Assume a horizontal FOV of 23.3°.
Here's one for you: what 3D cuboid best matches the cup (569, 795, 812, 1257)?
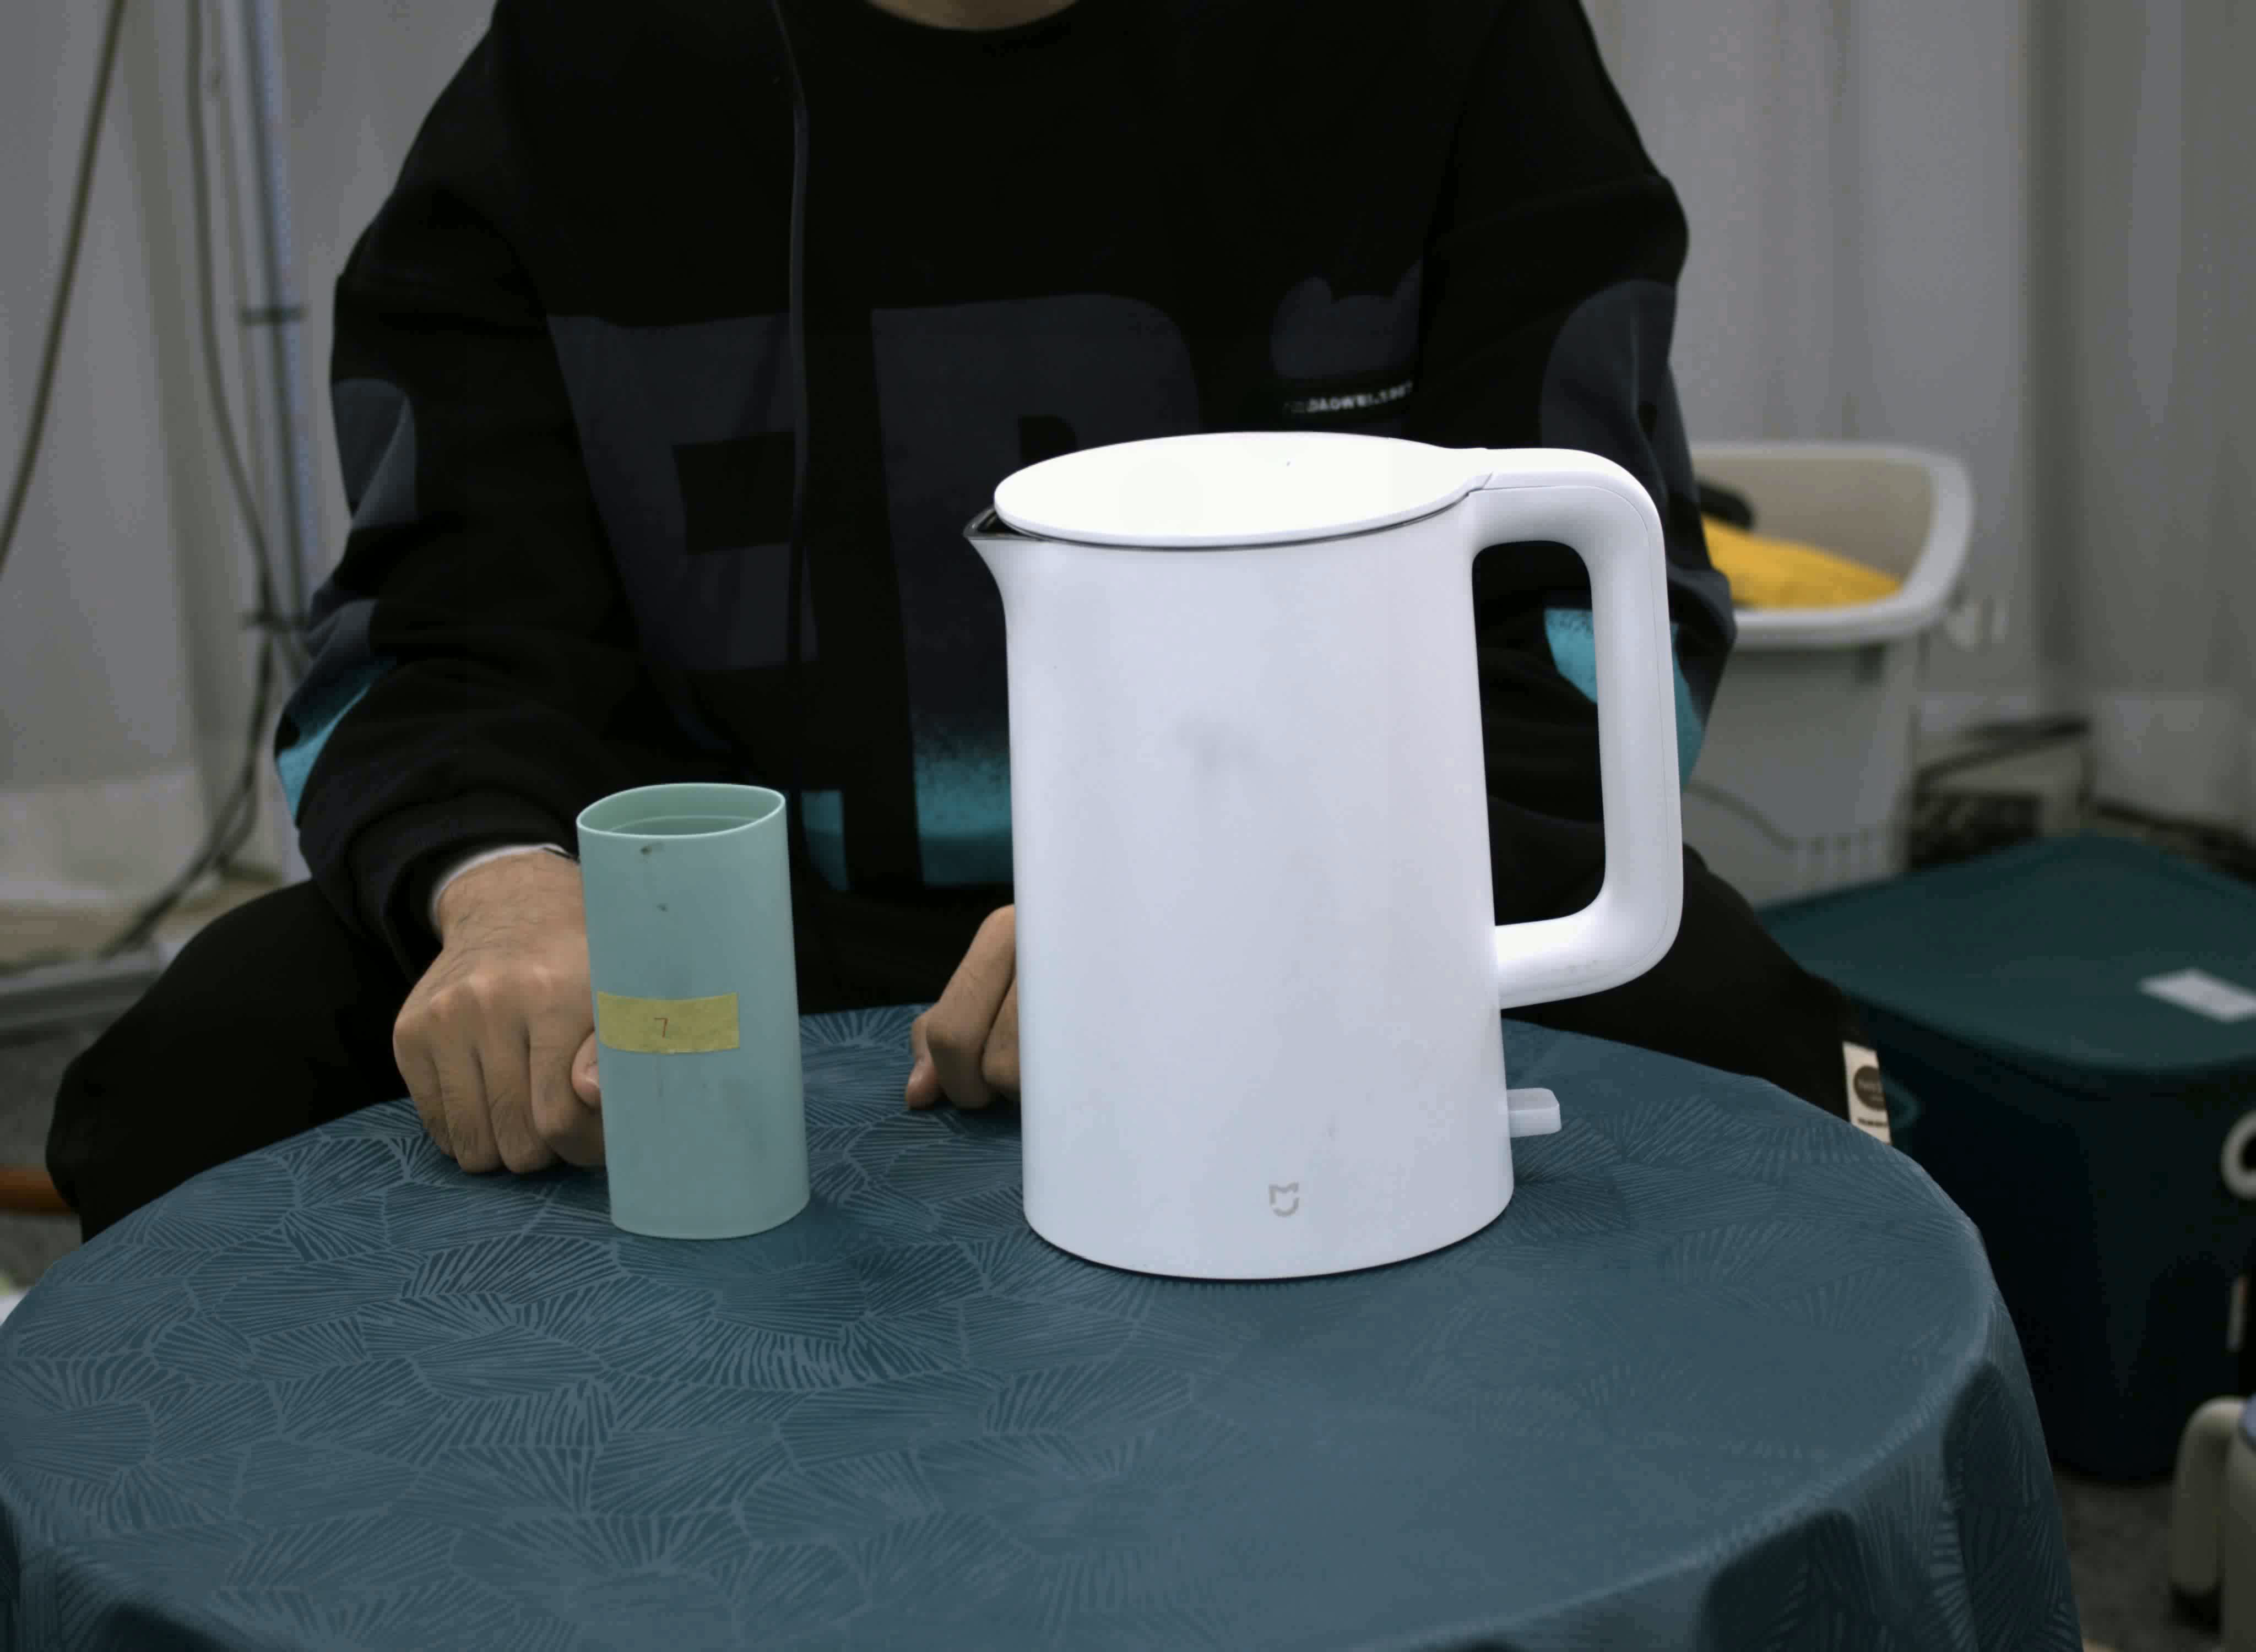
[{"bbox_3d":[-0.134,0.061,1.703,0.066,0.132,0.067,-4,14,1],"label":"cup"}]

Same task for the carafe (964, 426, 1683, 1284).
[{"bbox_3d":[0.063,0.004,1.670,0.212,0.239,0.153,-5,15,-4],"label":"carafe"}]
